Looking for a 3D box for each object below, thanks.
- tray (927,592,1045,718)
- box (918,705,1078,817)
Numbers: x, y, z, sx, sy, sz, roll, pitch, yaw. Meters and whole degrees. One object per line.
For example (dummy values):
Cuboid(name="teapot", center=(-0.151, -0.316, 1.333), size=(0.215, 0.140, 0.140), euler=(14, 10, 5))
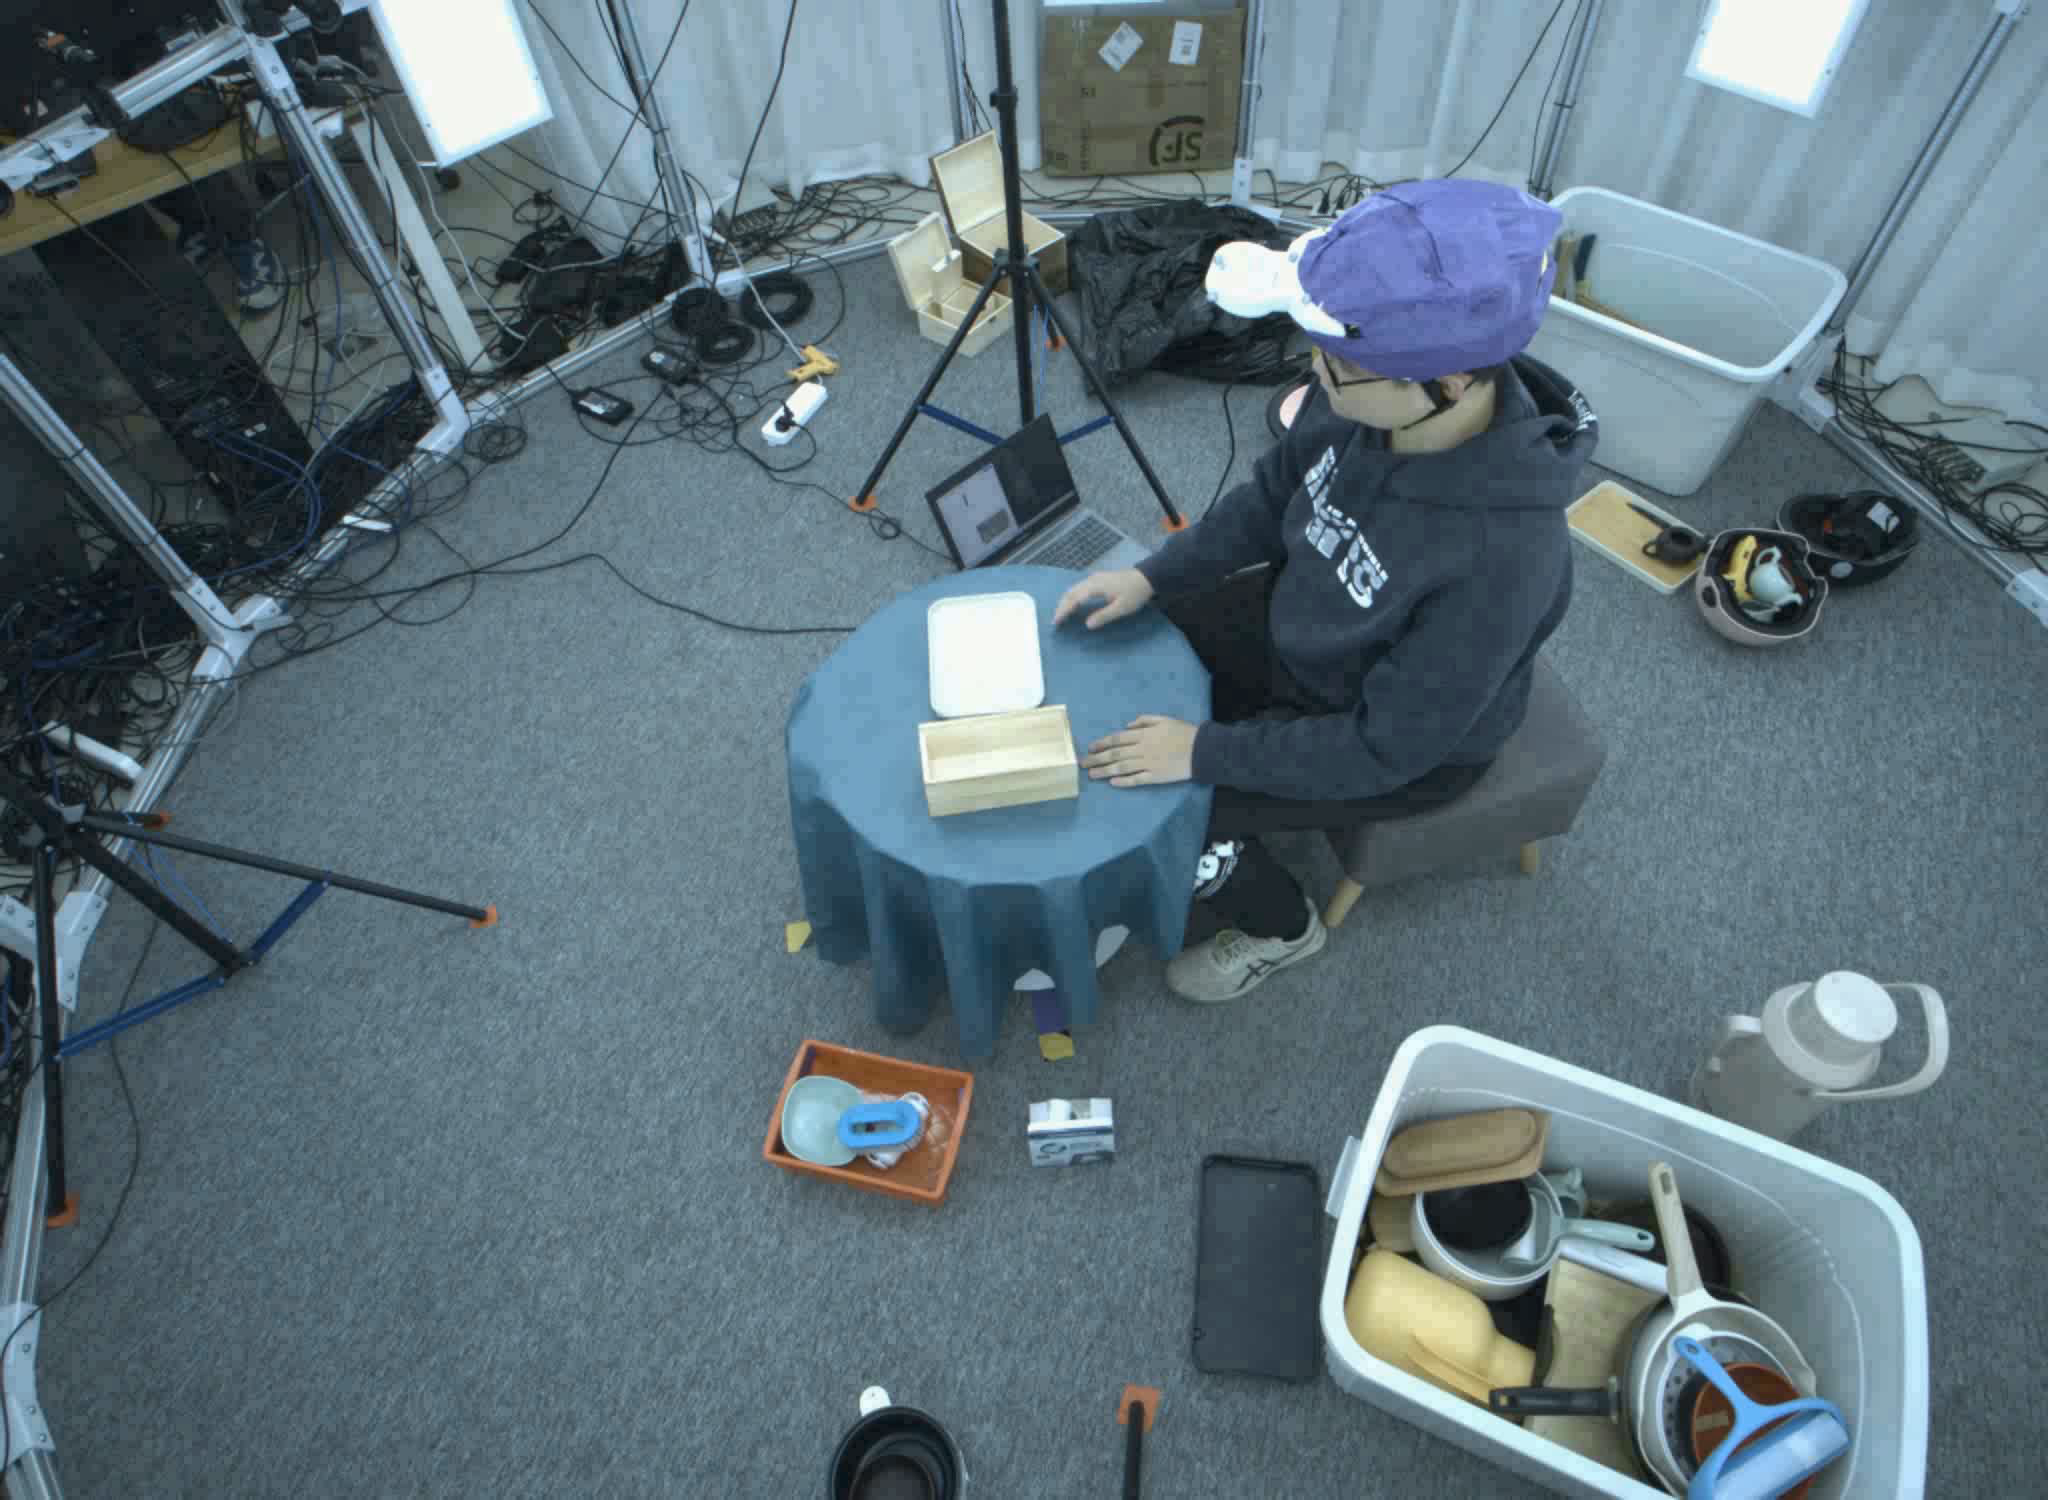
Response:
Cuboid(name="tray", center=(-0.061, -0.146, 1.882), size=(0.171, 0.017, 0.236), euler=(-4, 55, -2))
Cuboid(name="box", center=(-0.036, 0.015, 1.729), size=(0.212, 0.081, 0.106), euler=(-8, 55, -4))
